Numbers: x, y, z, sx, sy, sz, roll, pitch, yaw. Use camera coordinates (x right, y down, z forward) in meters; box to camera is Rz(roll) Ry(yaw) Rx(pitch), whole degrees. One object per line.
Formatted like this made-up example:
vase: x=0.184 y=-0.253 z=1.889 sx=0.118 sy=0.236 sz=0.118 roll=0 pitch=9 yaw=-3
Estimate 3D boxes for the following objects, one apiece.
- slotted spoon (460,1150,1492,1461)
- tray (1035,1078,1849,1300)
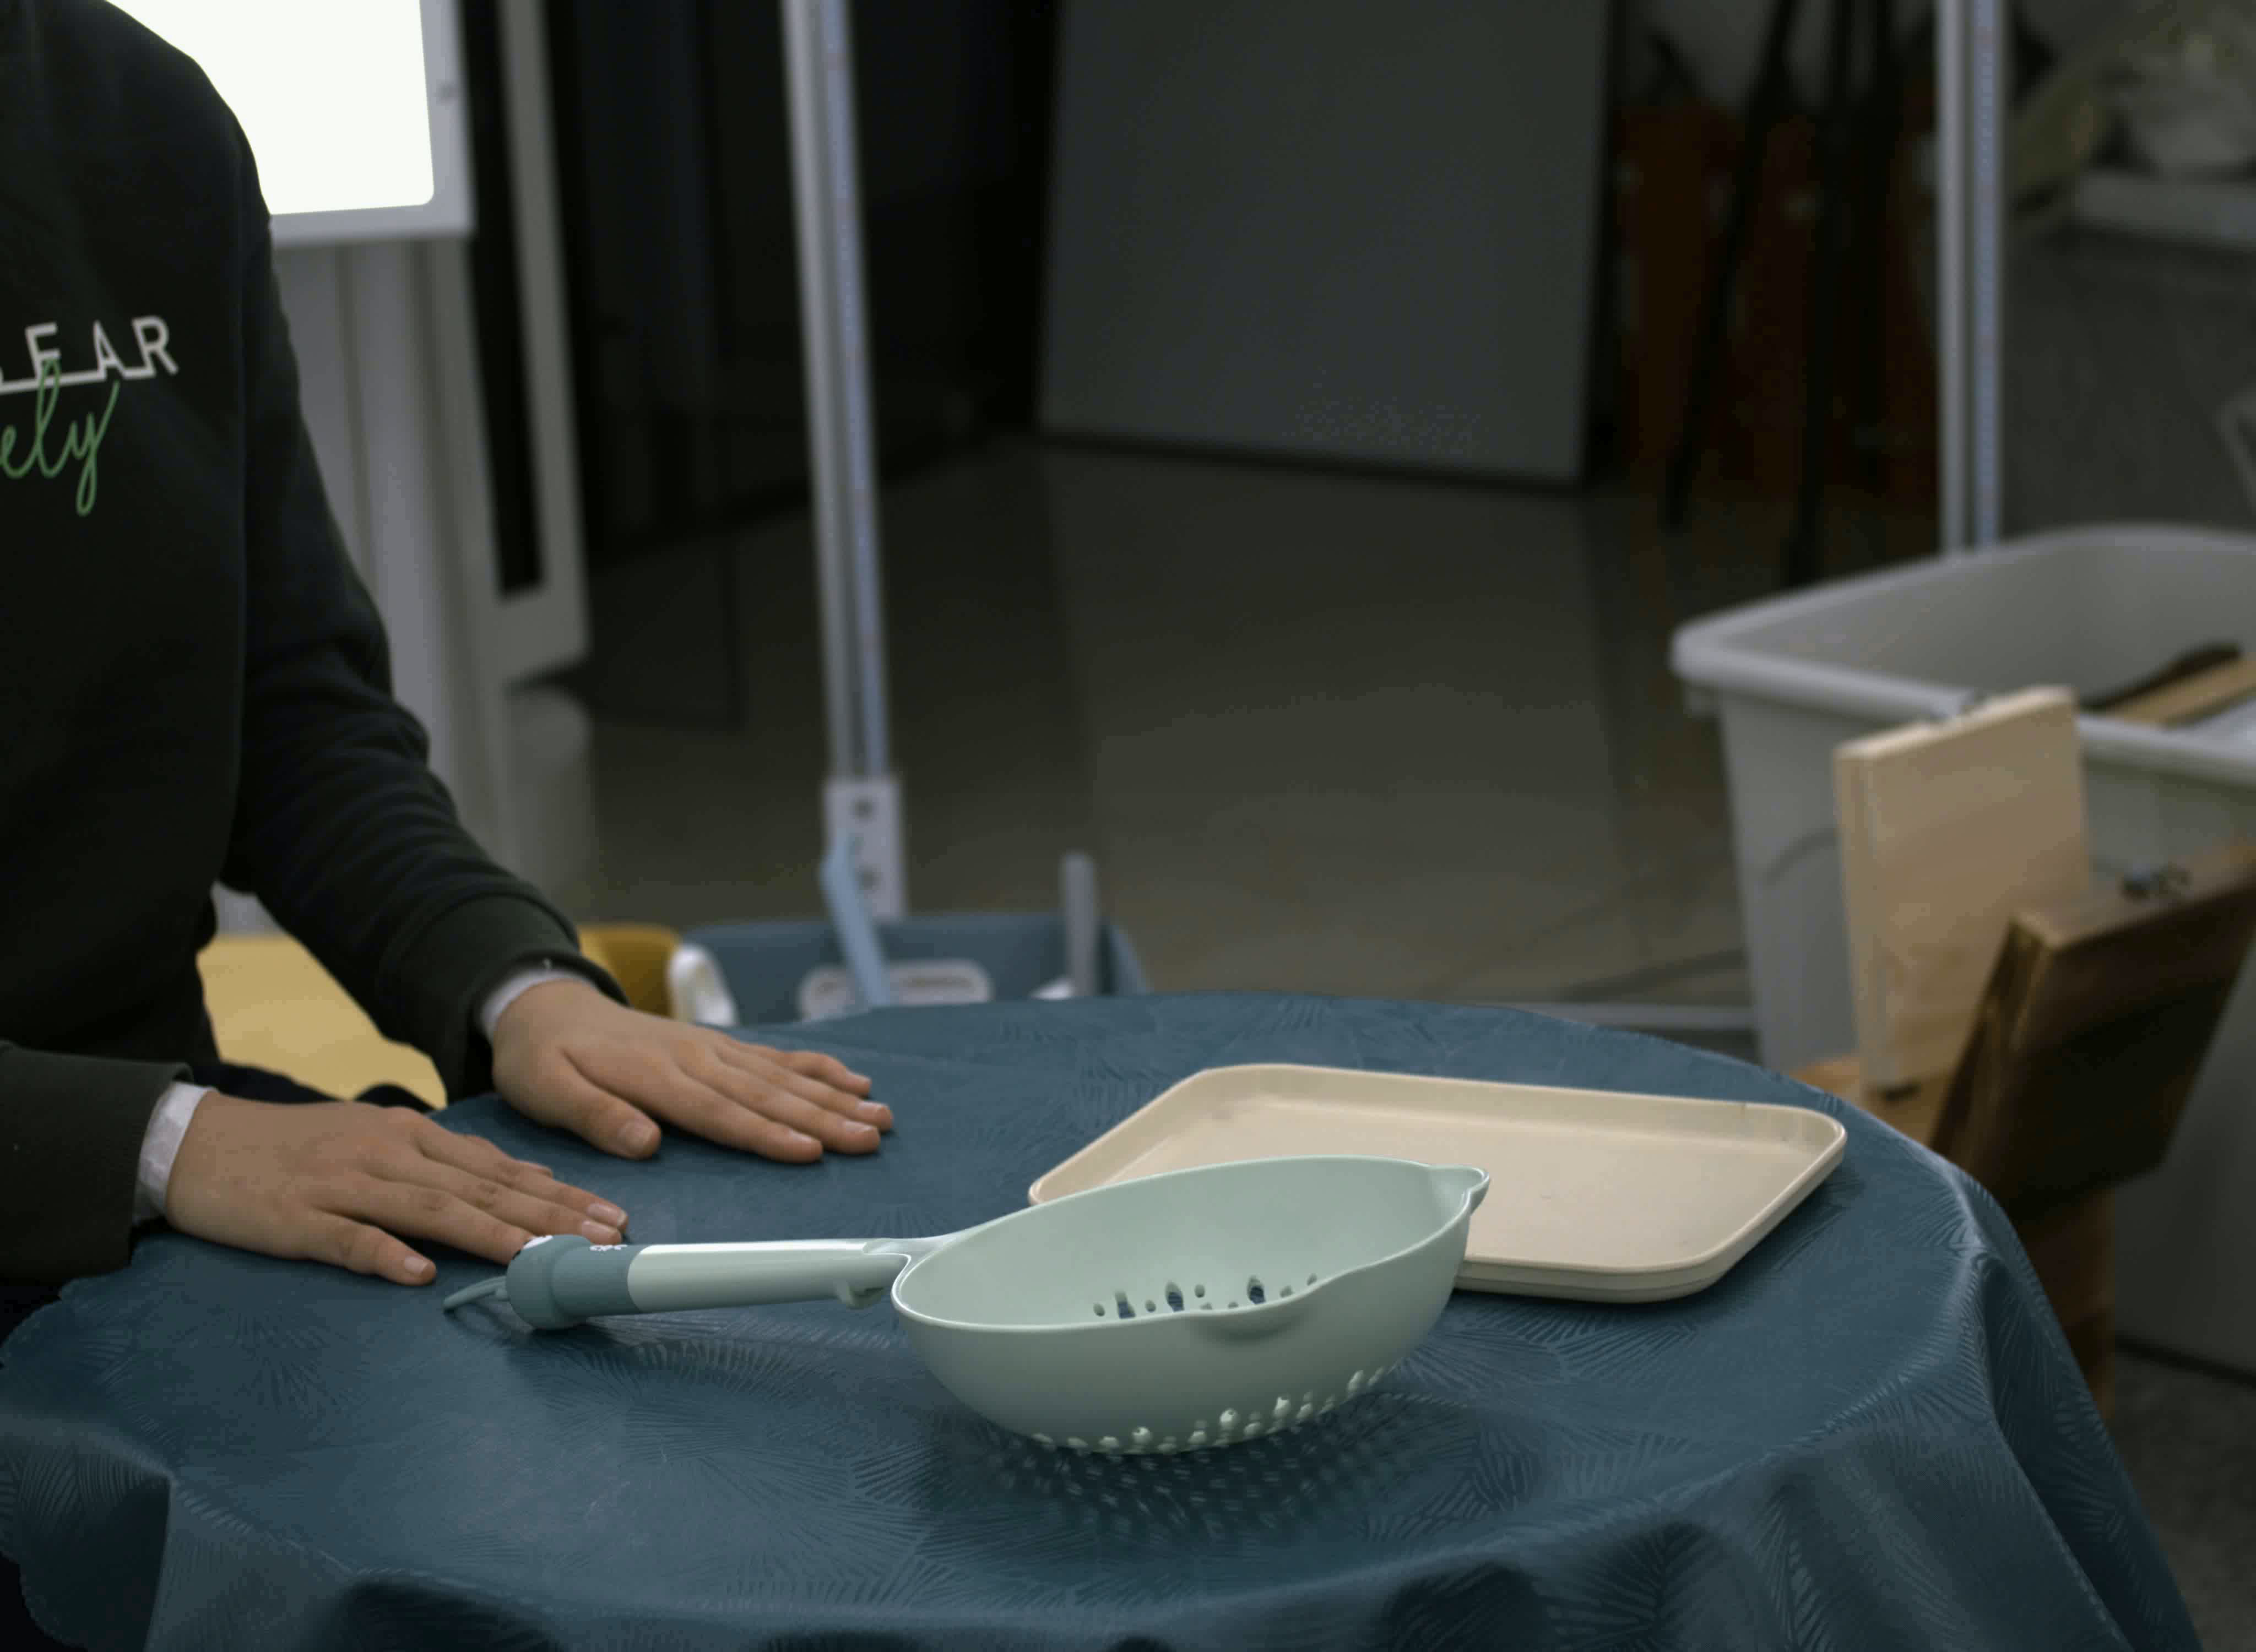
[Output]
slotted spoon: x=-0.061 y=0.137 z=1.596 sx=0.361 sy=0.076 sz=0.166 roll=4 pitch=15 yaw=33
tray: x=0.102 y=0.116 z=1.728 sx=0.240 sy=0.017 sz=0.169 roll=2 pitch=15 yaw=27
